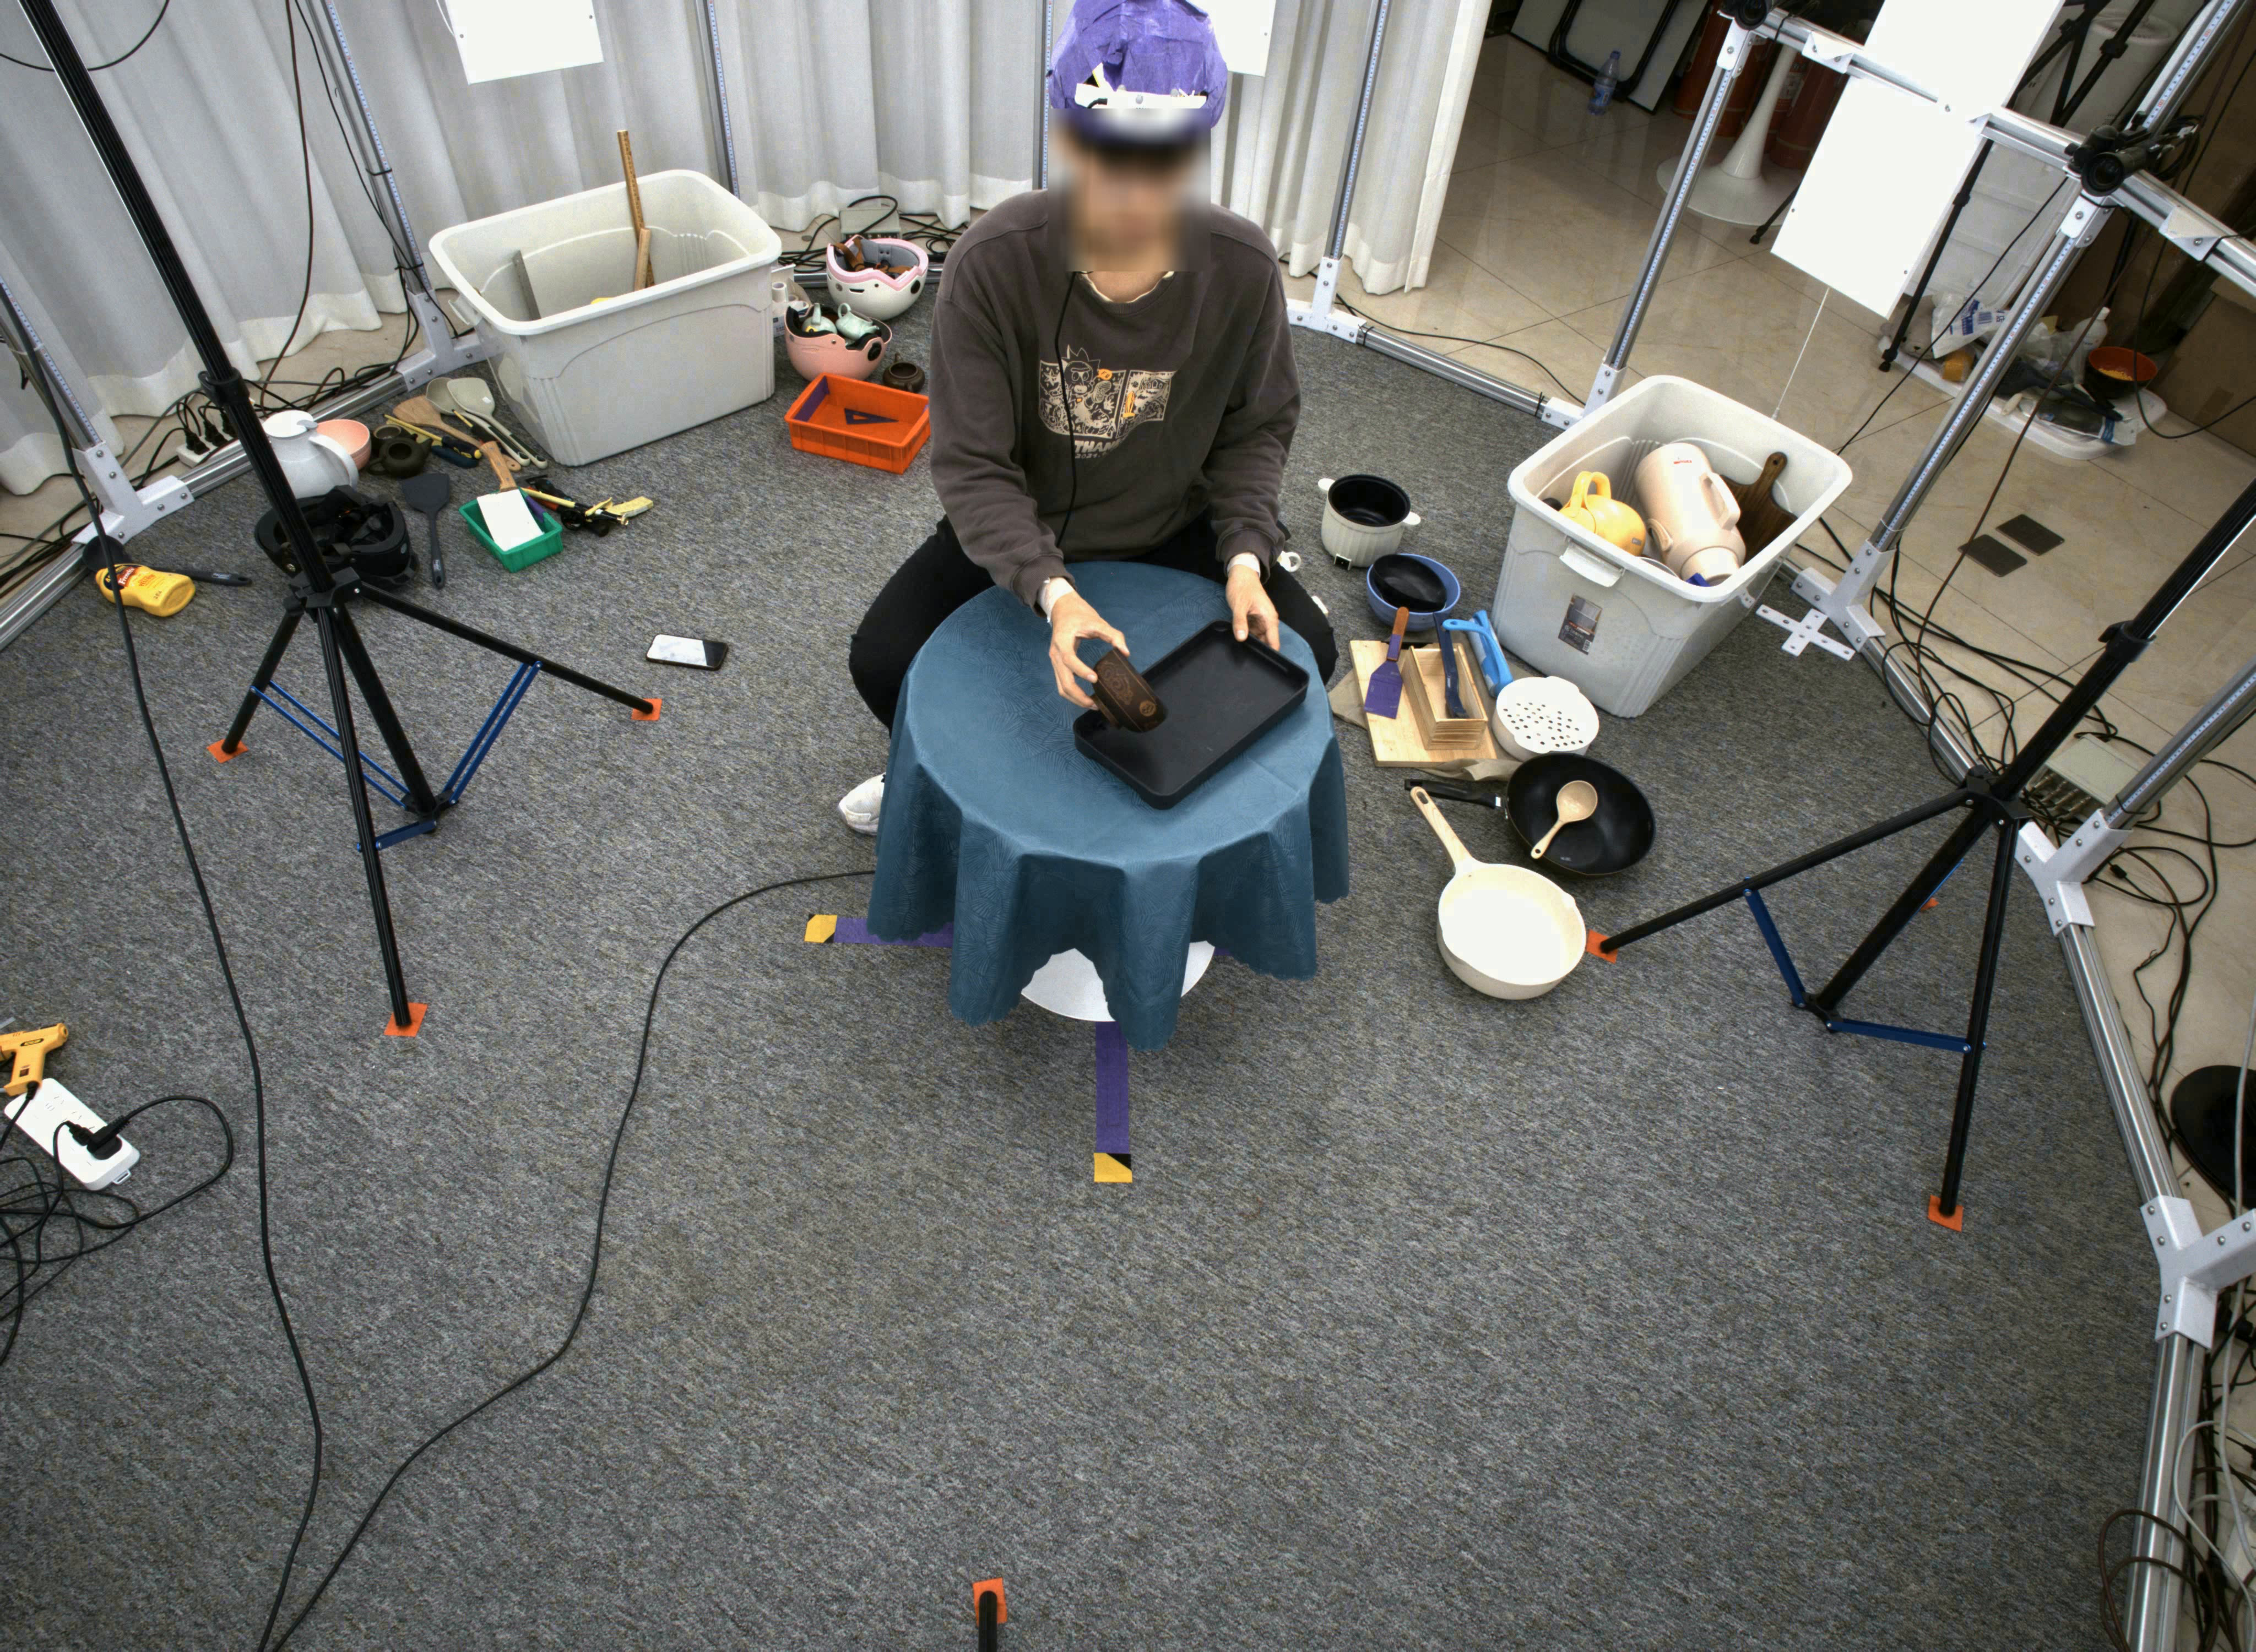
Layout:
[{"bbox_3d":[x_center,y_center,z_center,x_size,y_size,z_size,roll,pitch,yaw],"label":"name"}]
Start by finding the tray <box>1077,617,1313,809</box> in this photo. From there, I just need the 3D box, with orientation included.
[{"bbox_3d":[0.095,-0.163,1.782,0.187,0.036,0.321,35,59,25],"label":"tray"}]

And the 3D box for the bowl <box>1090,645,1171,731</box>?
[{"bbox_3d":[-0.006,-0.172,1.685,0.070,0.116,0.120,-42,58,5],"label":"bowl"}]
